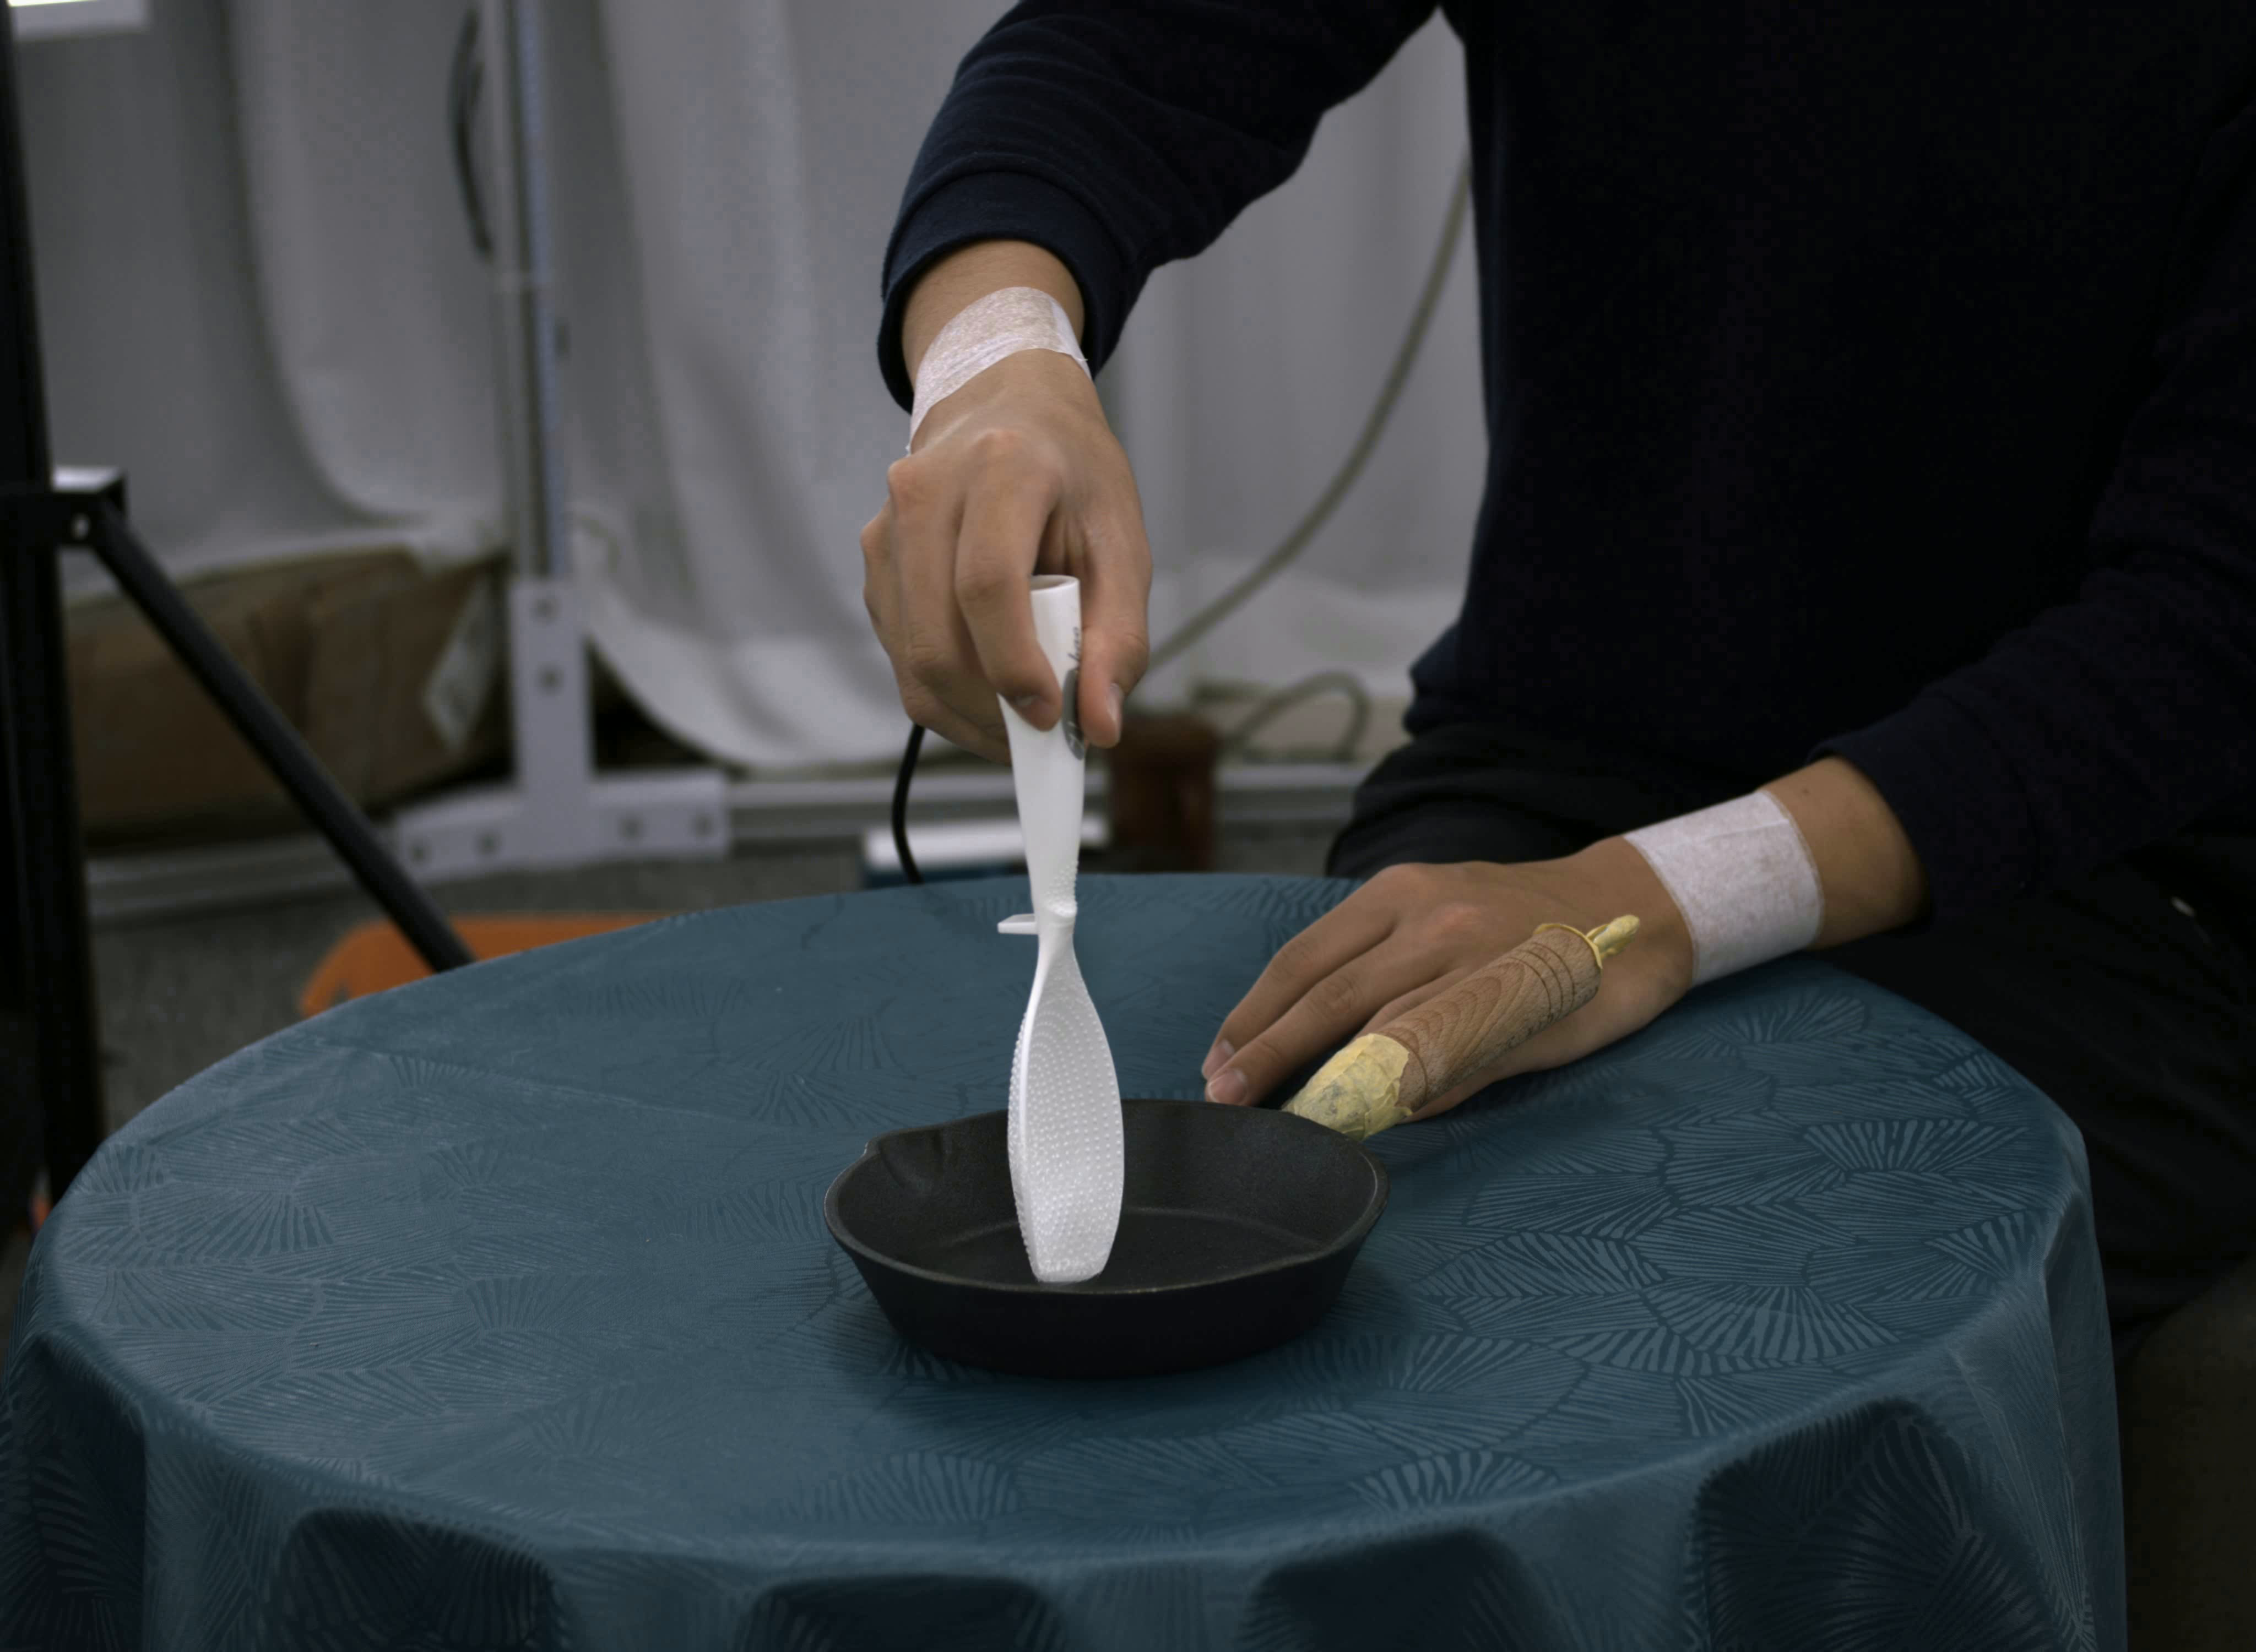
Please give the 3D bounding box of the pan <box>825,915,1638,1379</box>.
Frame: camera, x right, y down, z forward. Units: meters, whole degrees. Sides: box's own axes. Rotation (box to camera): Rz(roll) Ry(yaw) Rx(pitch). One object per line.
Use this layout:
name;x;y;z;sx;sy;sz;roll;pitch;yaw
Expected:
pan;0.050;0.088;1.526;0.173;0.049;0.317;11;23;42

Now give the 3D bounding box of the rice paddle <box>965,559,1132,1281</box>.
rice paddle;-0.018;0.031;1.442;0.030;0.205;0.067;-1;11;25
